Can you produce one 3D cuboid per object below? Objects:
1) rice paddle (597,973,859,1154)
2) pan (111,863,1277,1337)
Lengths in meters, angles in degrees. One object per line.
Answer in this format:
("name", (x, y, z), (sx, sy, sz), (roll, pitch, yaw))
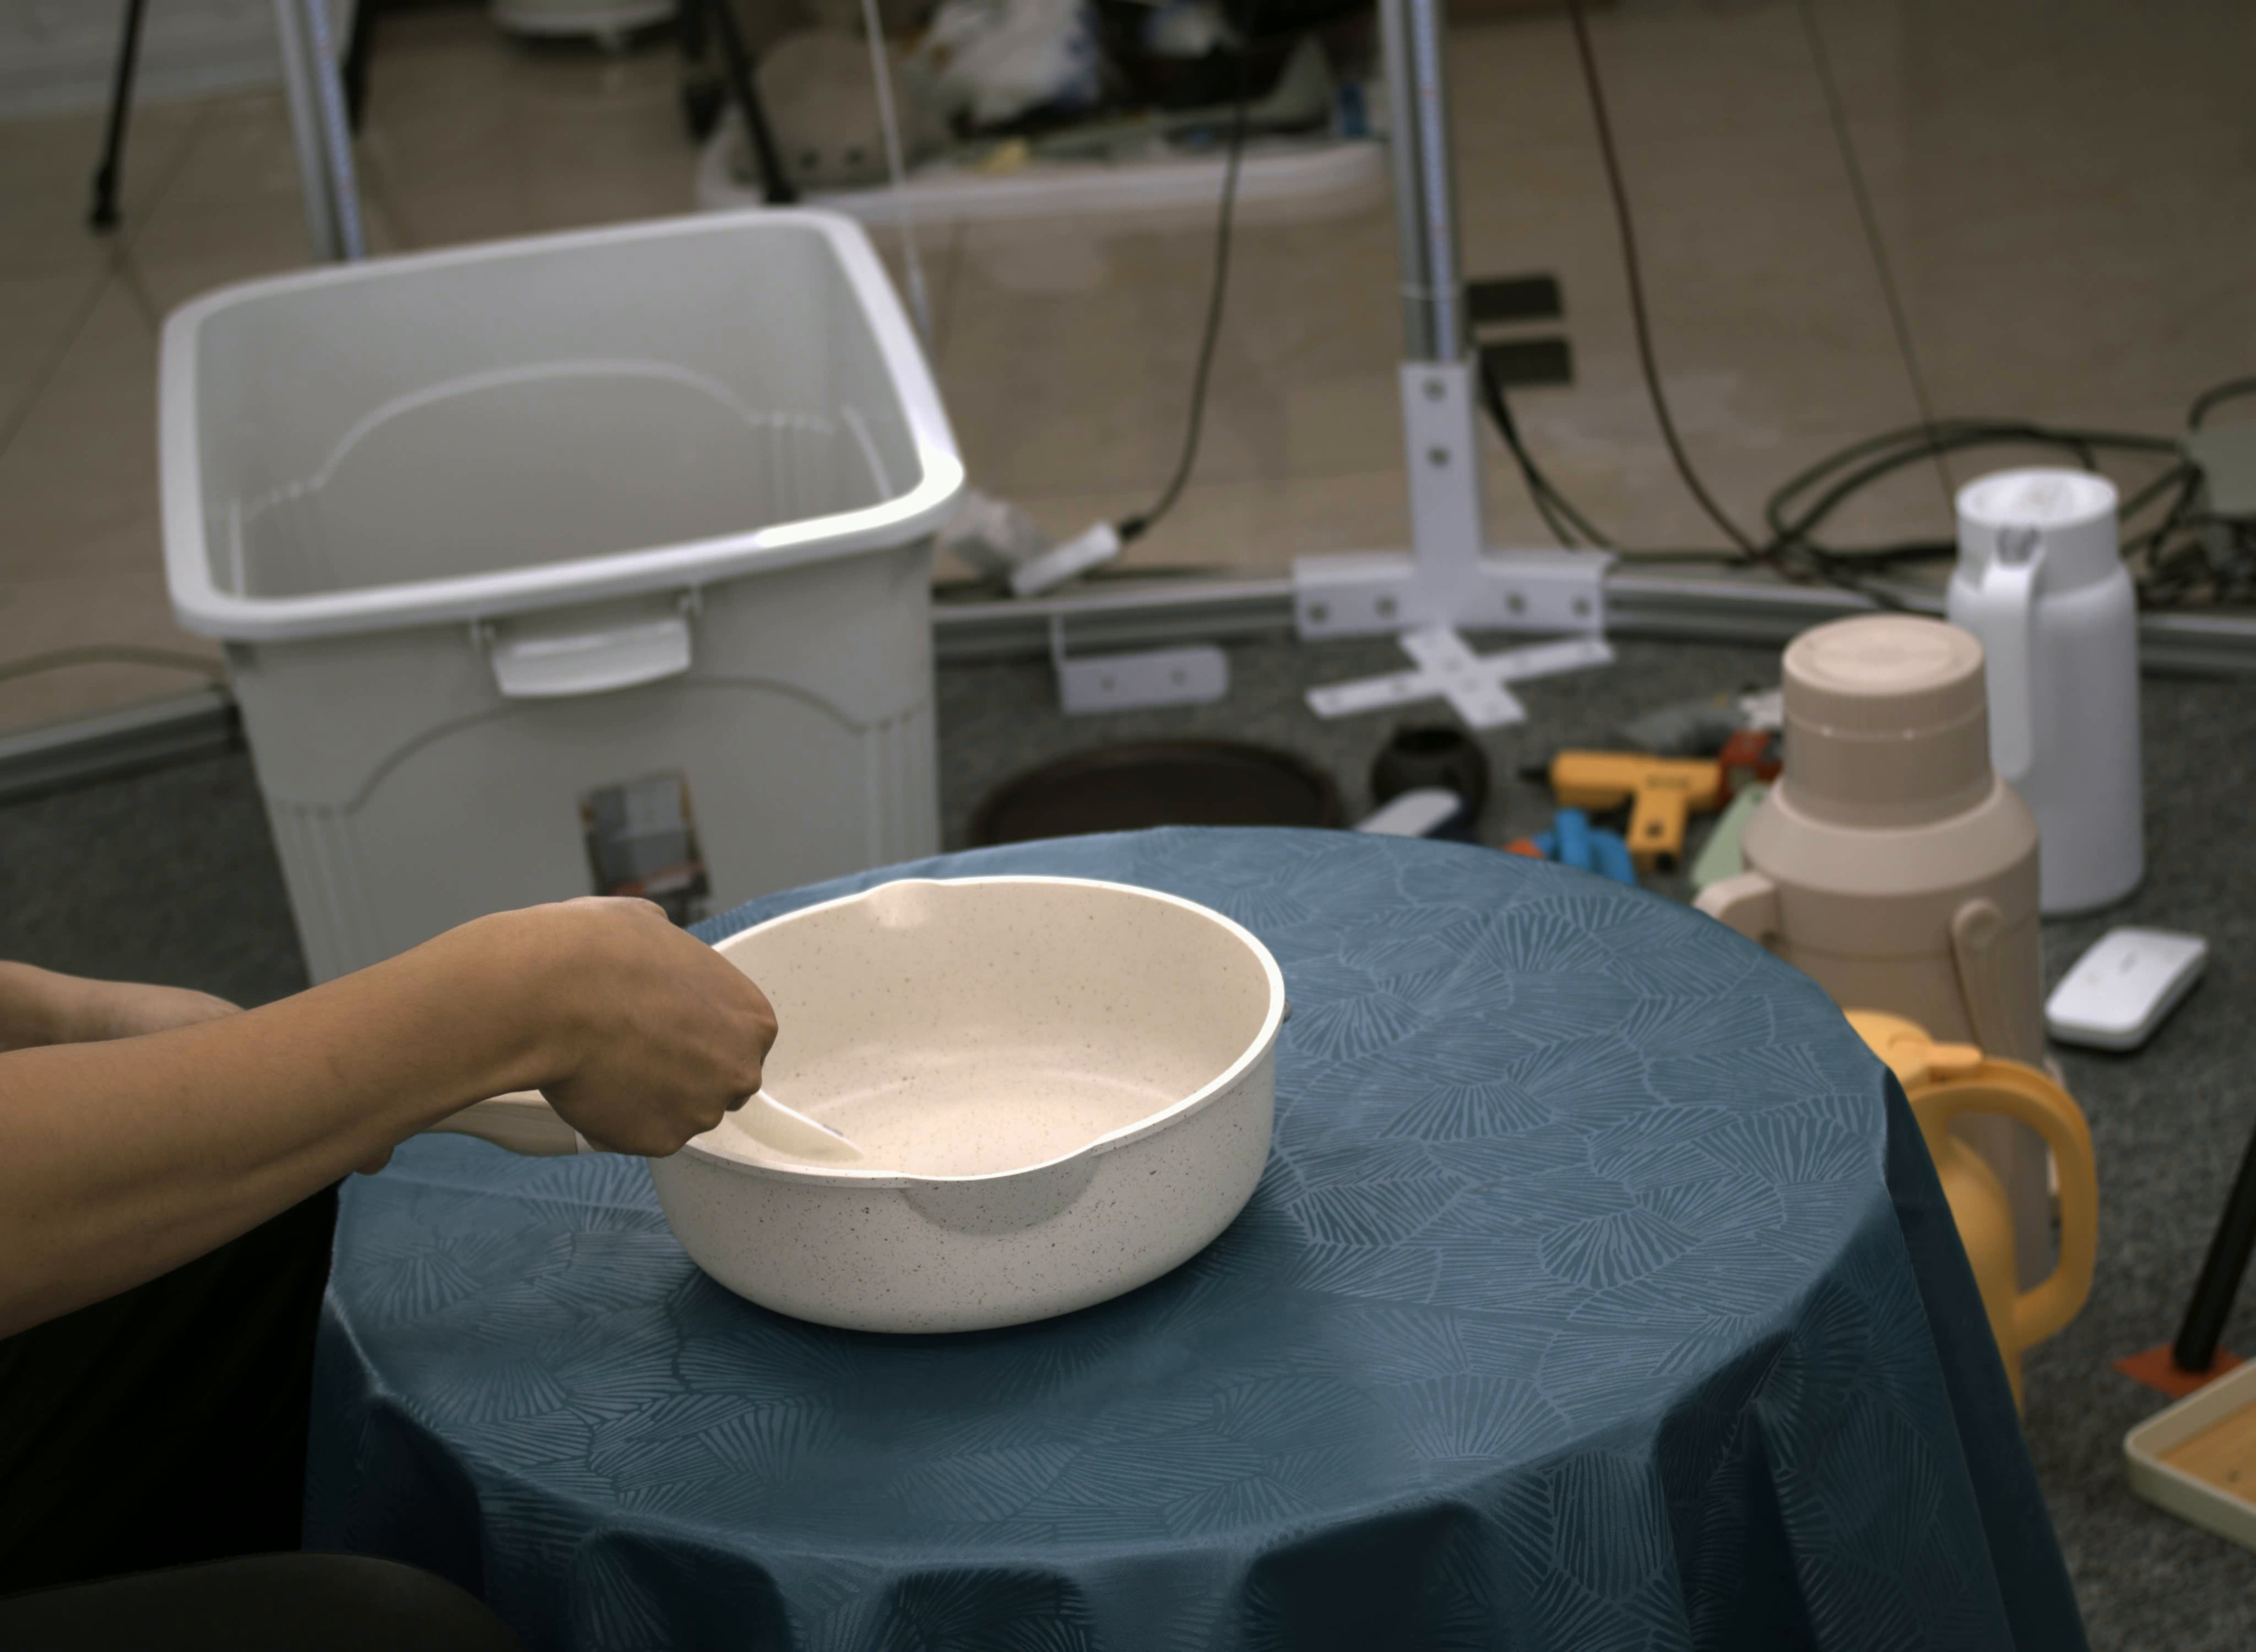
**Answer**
("rice paddle", (-0.145, 0.088, 2.052), (0.068, 0.029, 0.207), (28, -5, 19))
("pan", (-0.155, 0.116, 2.123), (0.434, 0.104, 0.259), (-10, 27, -7))
